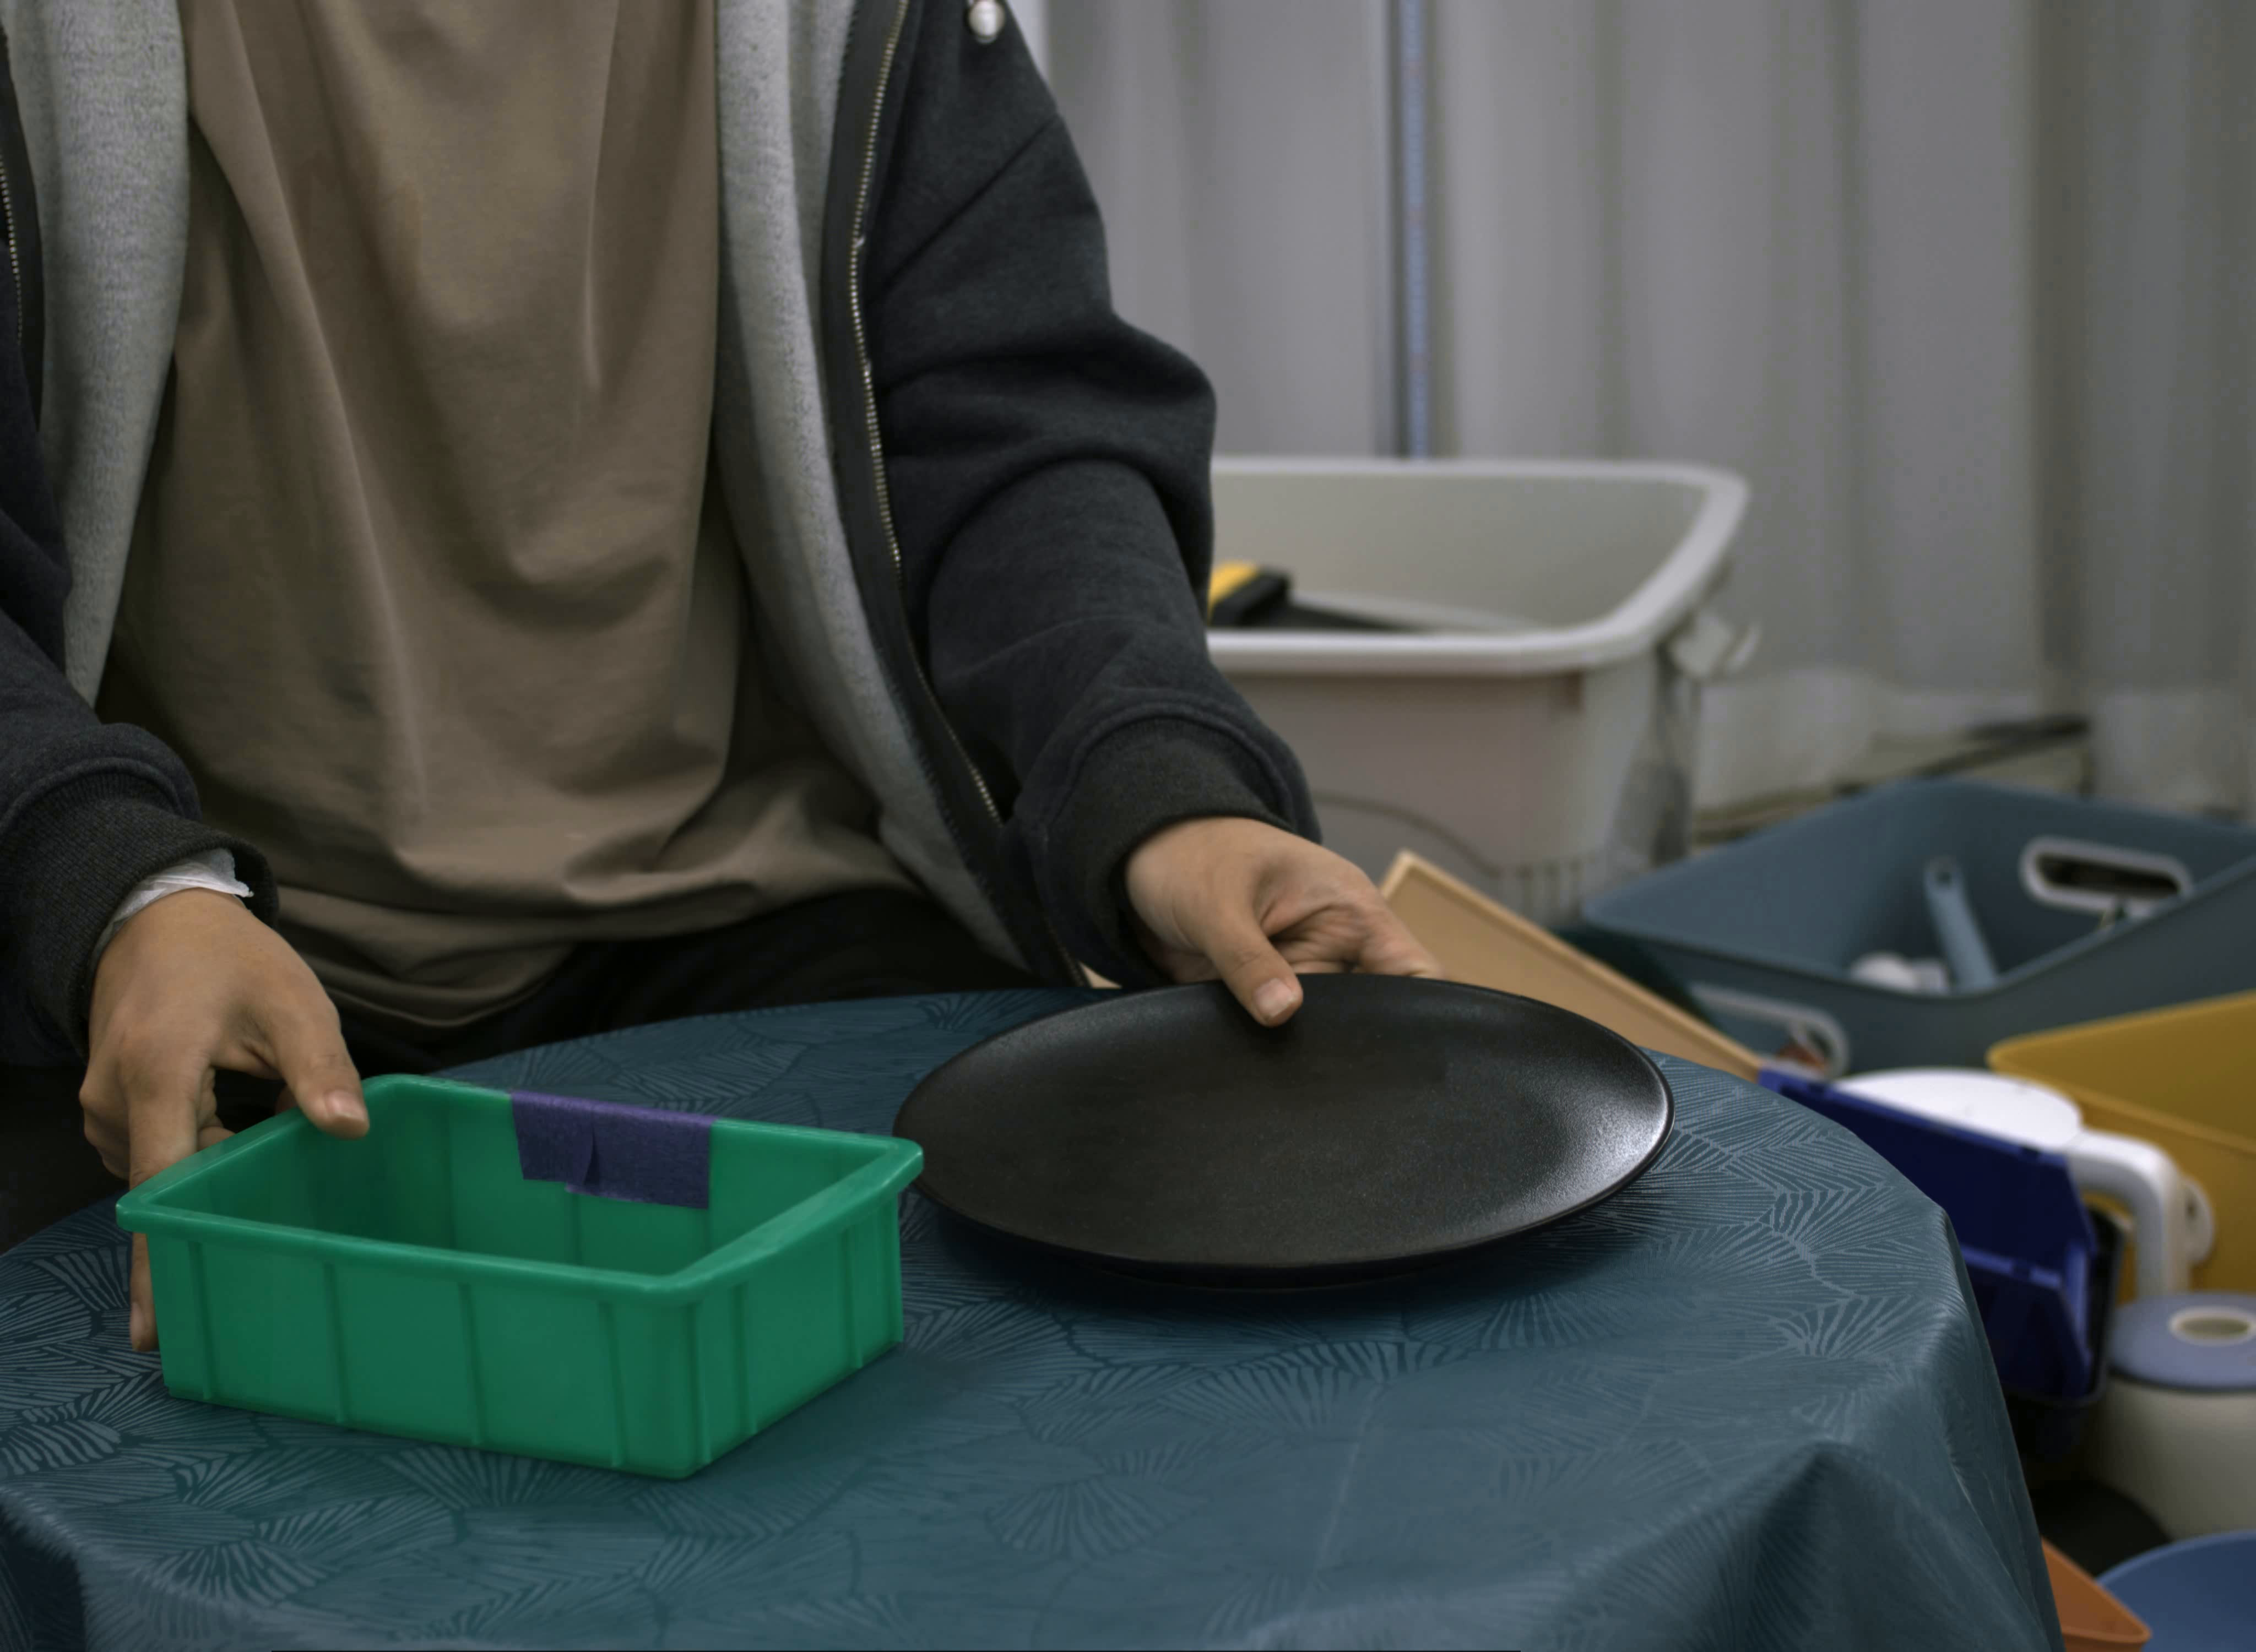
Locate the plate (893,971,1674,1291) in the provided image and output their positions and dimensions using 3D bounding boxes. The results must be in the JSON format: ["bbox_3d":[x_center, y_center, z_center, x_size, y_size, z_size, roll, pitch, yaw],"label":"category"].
[{"bbox_3d":[0.048,0.098,1.702,0.243,0.023,0.246,-3,19,1],"label":"plate"}]

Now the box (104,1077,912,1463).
[{"bbox_3d":[-0.176,0.127,1.580,0.211,0.065,0.139,3,14,28],"label":"box"}]
